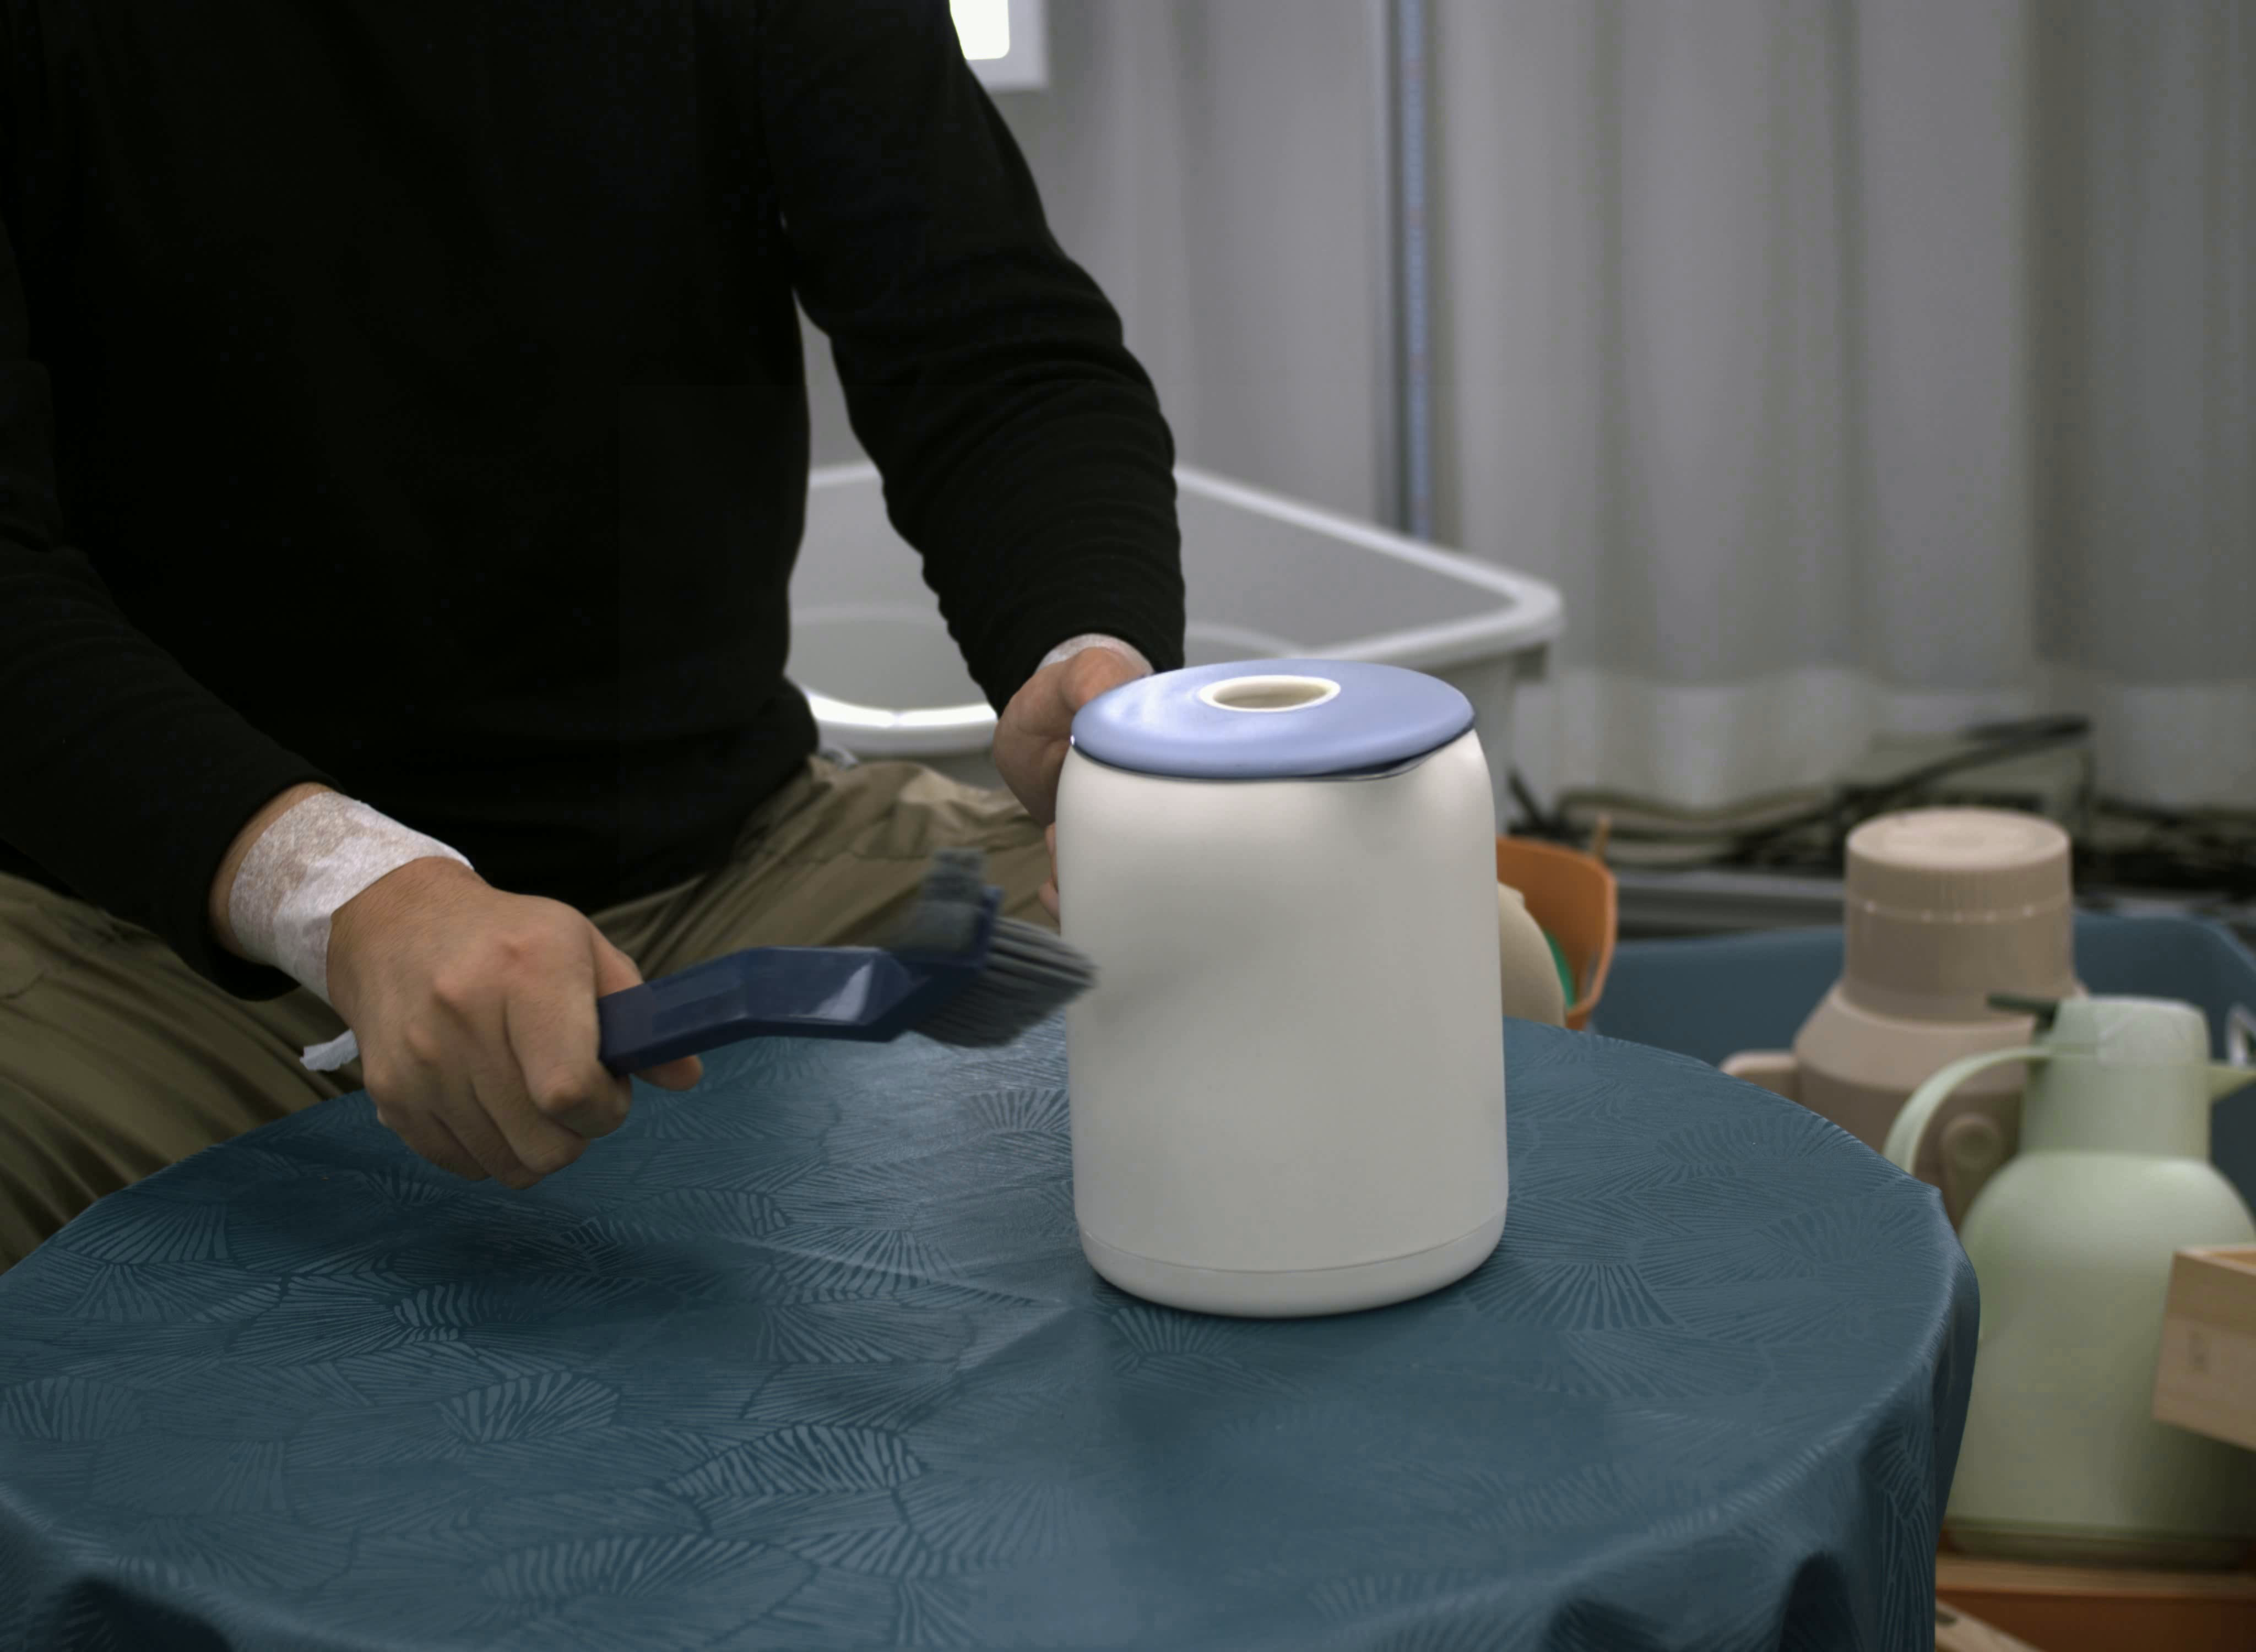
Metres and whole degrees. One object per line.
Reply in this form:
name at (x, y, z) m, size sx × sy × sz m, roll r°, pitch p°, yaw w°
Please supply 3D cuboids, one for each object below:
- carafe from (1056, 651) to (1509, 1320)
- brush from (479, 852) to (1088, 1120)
carafe at (0.034, 0.041, 1.651) m, size 0.131 × 0.182 × 0.192 m, roll -10°, pitch 15°, yaw -28°
brush at (-0.119, 0.047, 1.590) m, size 0.273 × 0.034 × 0.094 m, roll -11°, pitch -29°, yaw 42°
